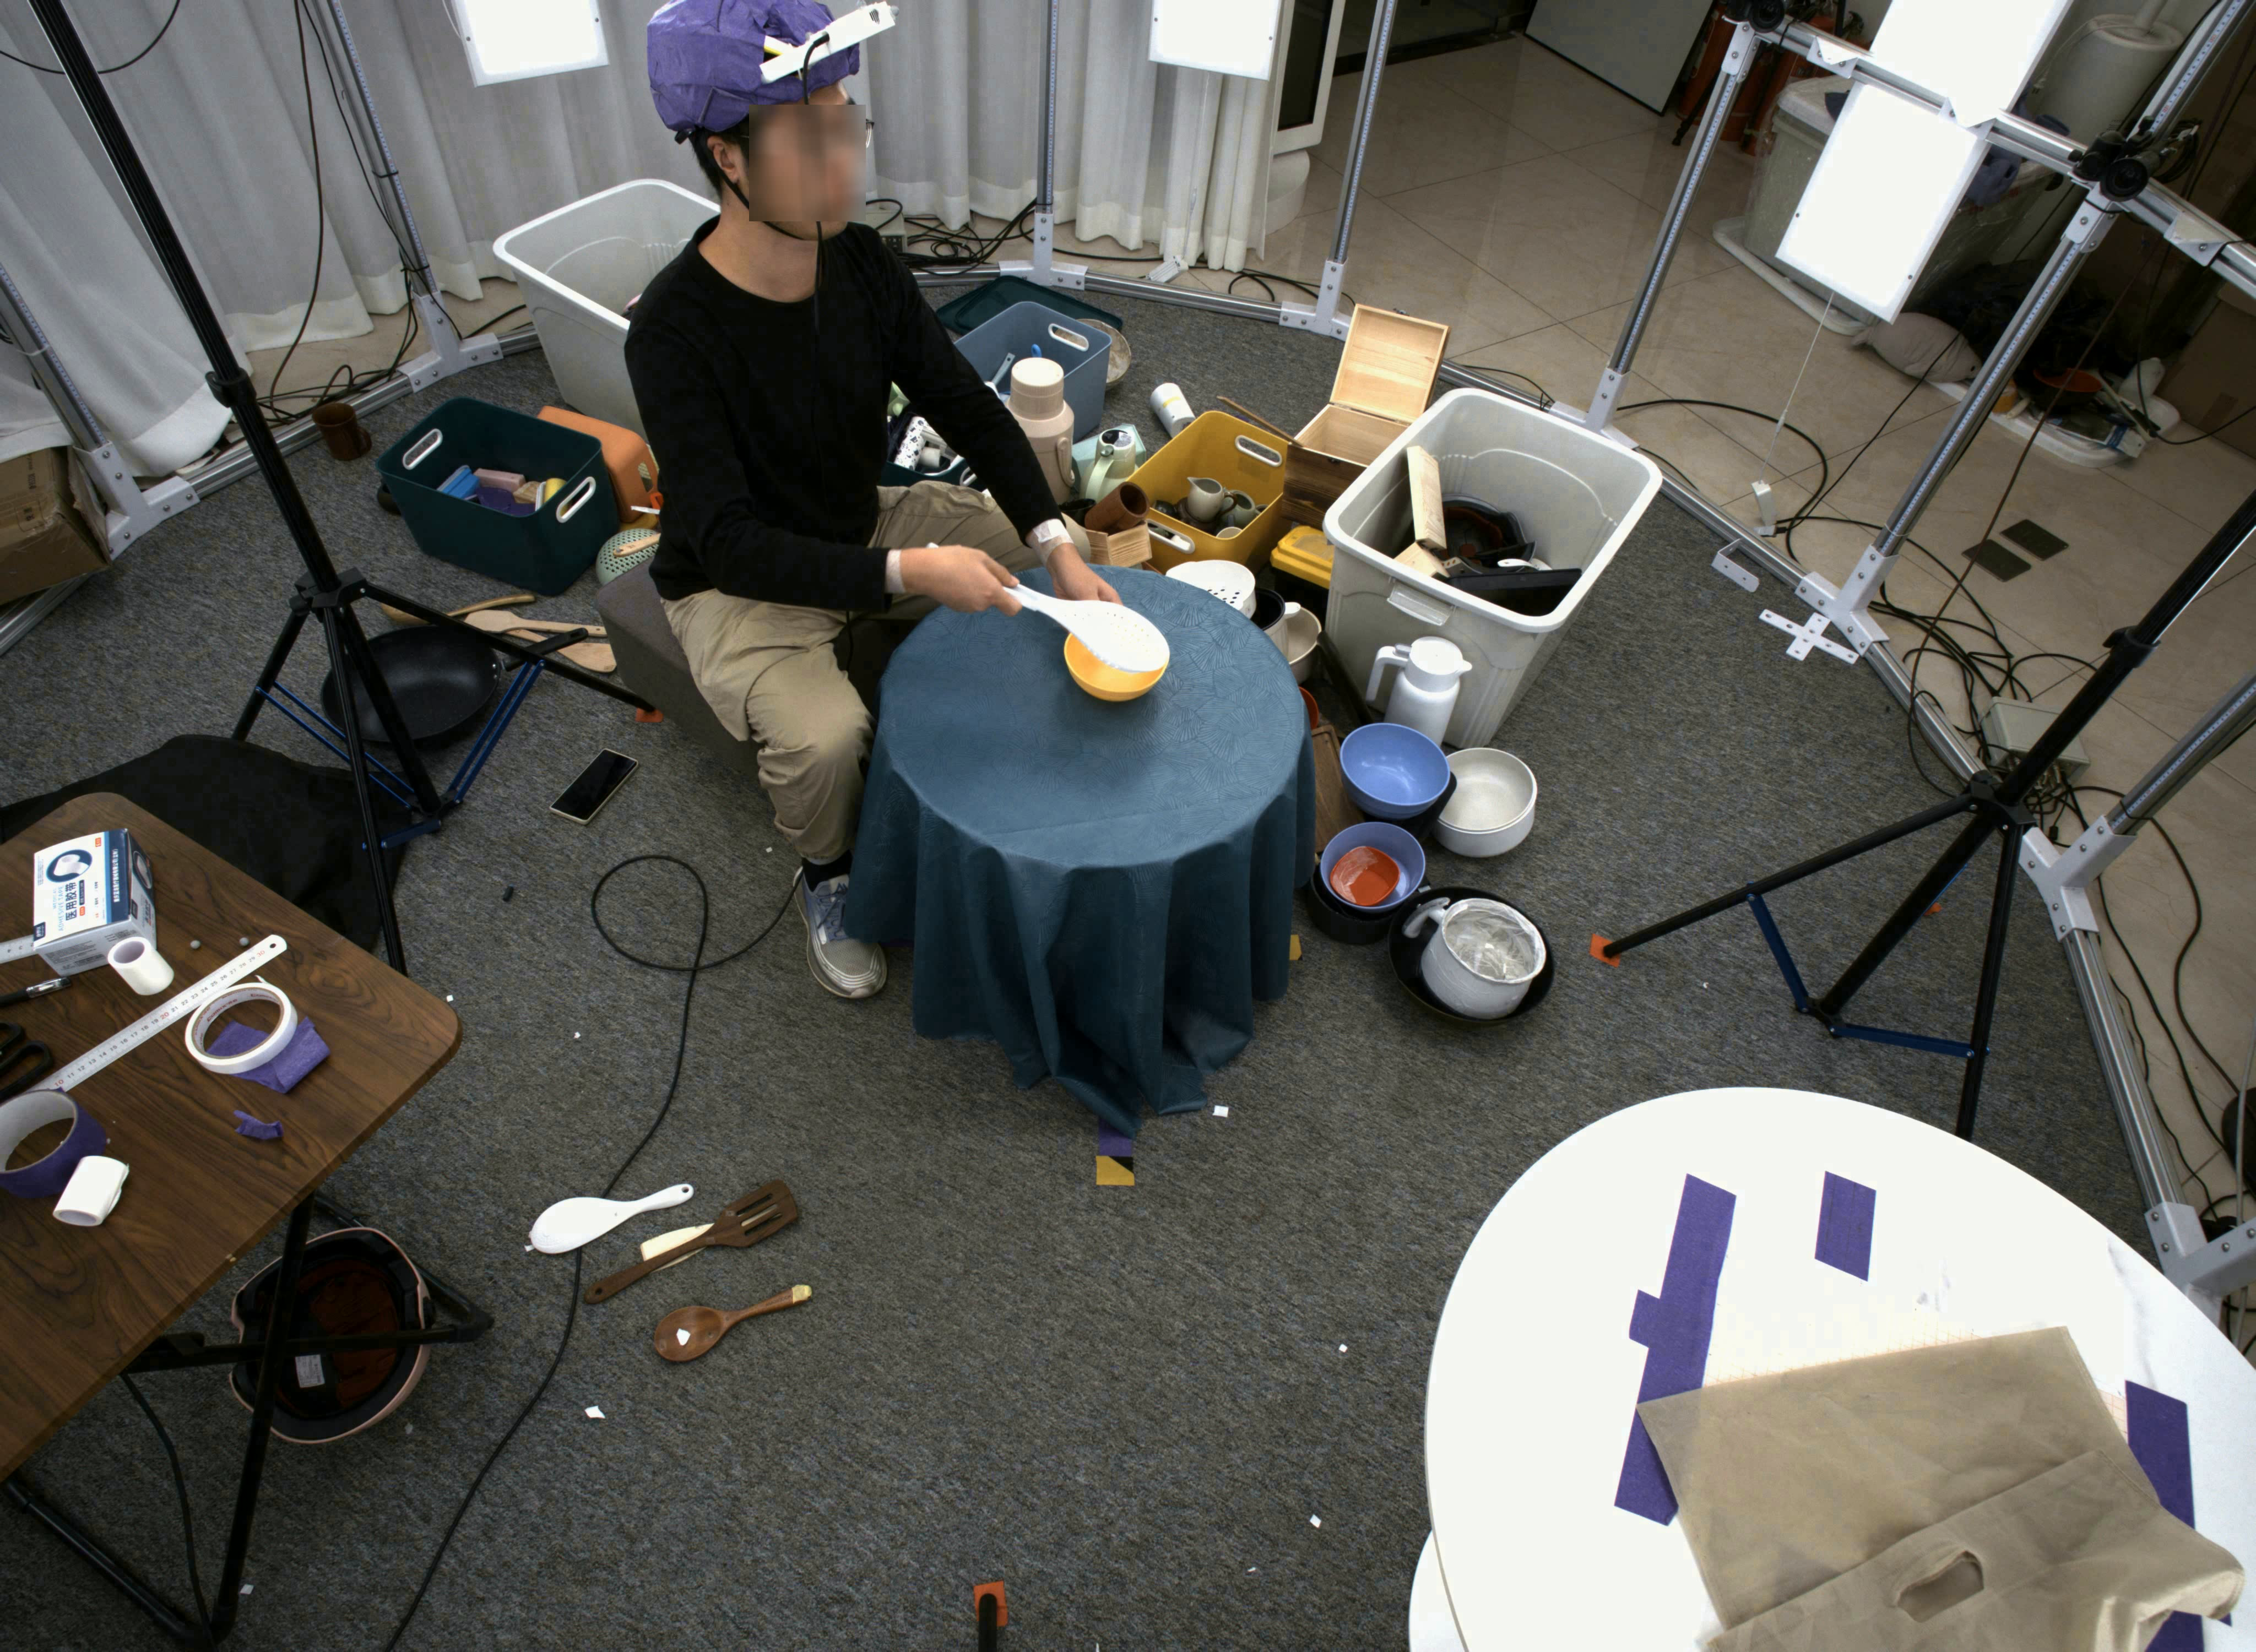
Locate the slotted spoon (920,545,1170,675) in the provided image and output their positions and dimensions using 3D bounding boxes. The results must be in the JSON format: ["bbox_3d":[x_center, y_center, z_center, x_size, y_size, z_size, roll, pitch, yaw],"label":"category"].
[{"bbox_3d":[-0.106,-0.287,1.692,0.347,0.045,0.139,25,39,-14],"label":"slotted spoon"}]

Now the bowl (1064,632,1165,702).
[{"bbox_3d":[-0.023,-0.223,1.823,0.145,0.059,0.149,5,50,-6],"label":"bowl"}]
